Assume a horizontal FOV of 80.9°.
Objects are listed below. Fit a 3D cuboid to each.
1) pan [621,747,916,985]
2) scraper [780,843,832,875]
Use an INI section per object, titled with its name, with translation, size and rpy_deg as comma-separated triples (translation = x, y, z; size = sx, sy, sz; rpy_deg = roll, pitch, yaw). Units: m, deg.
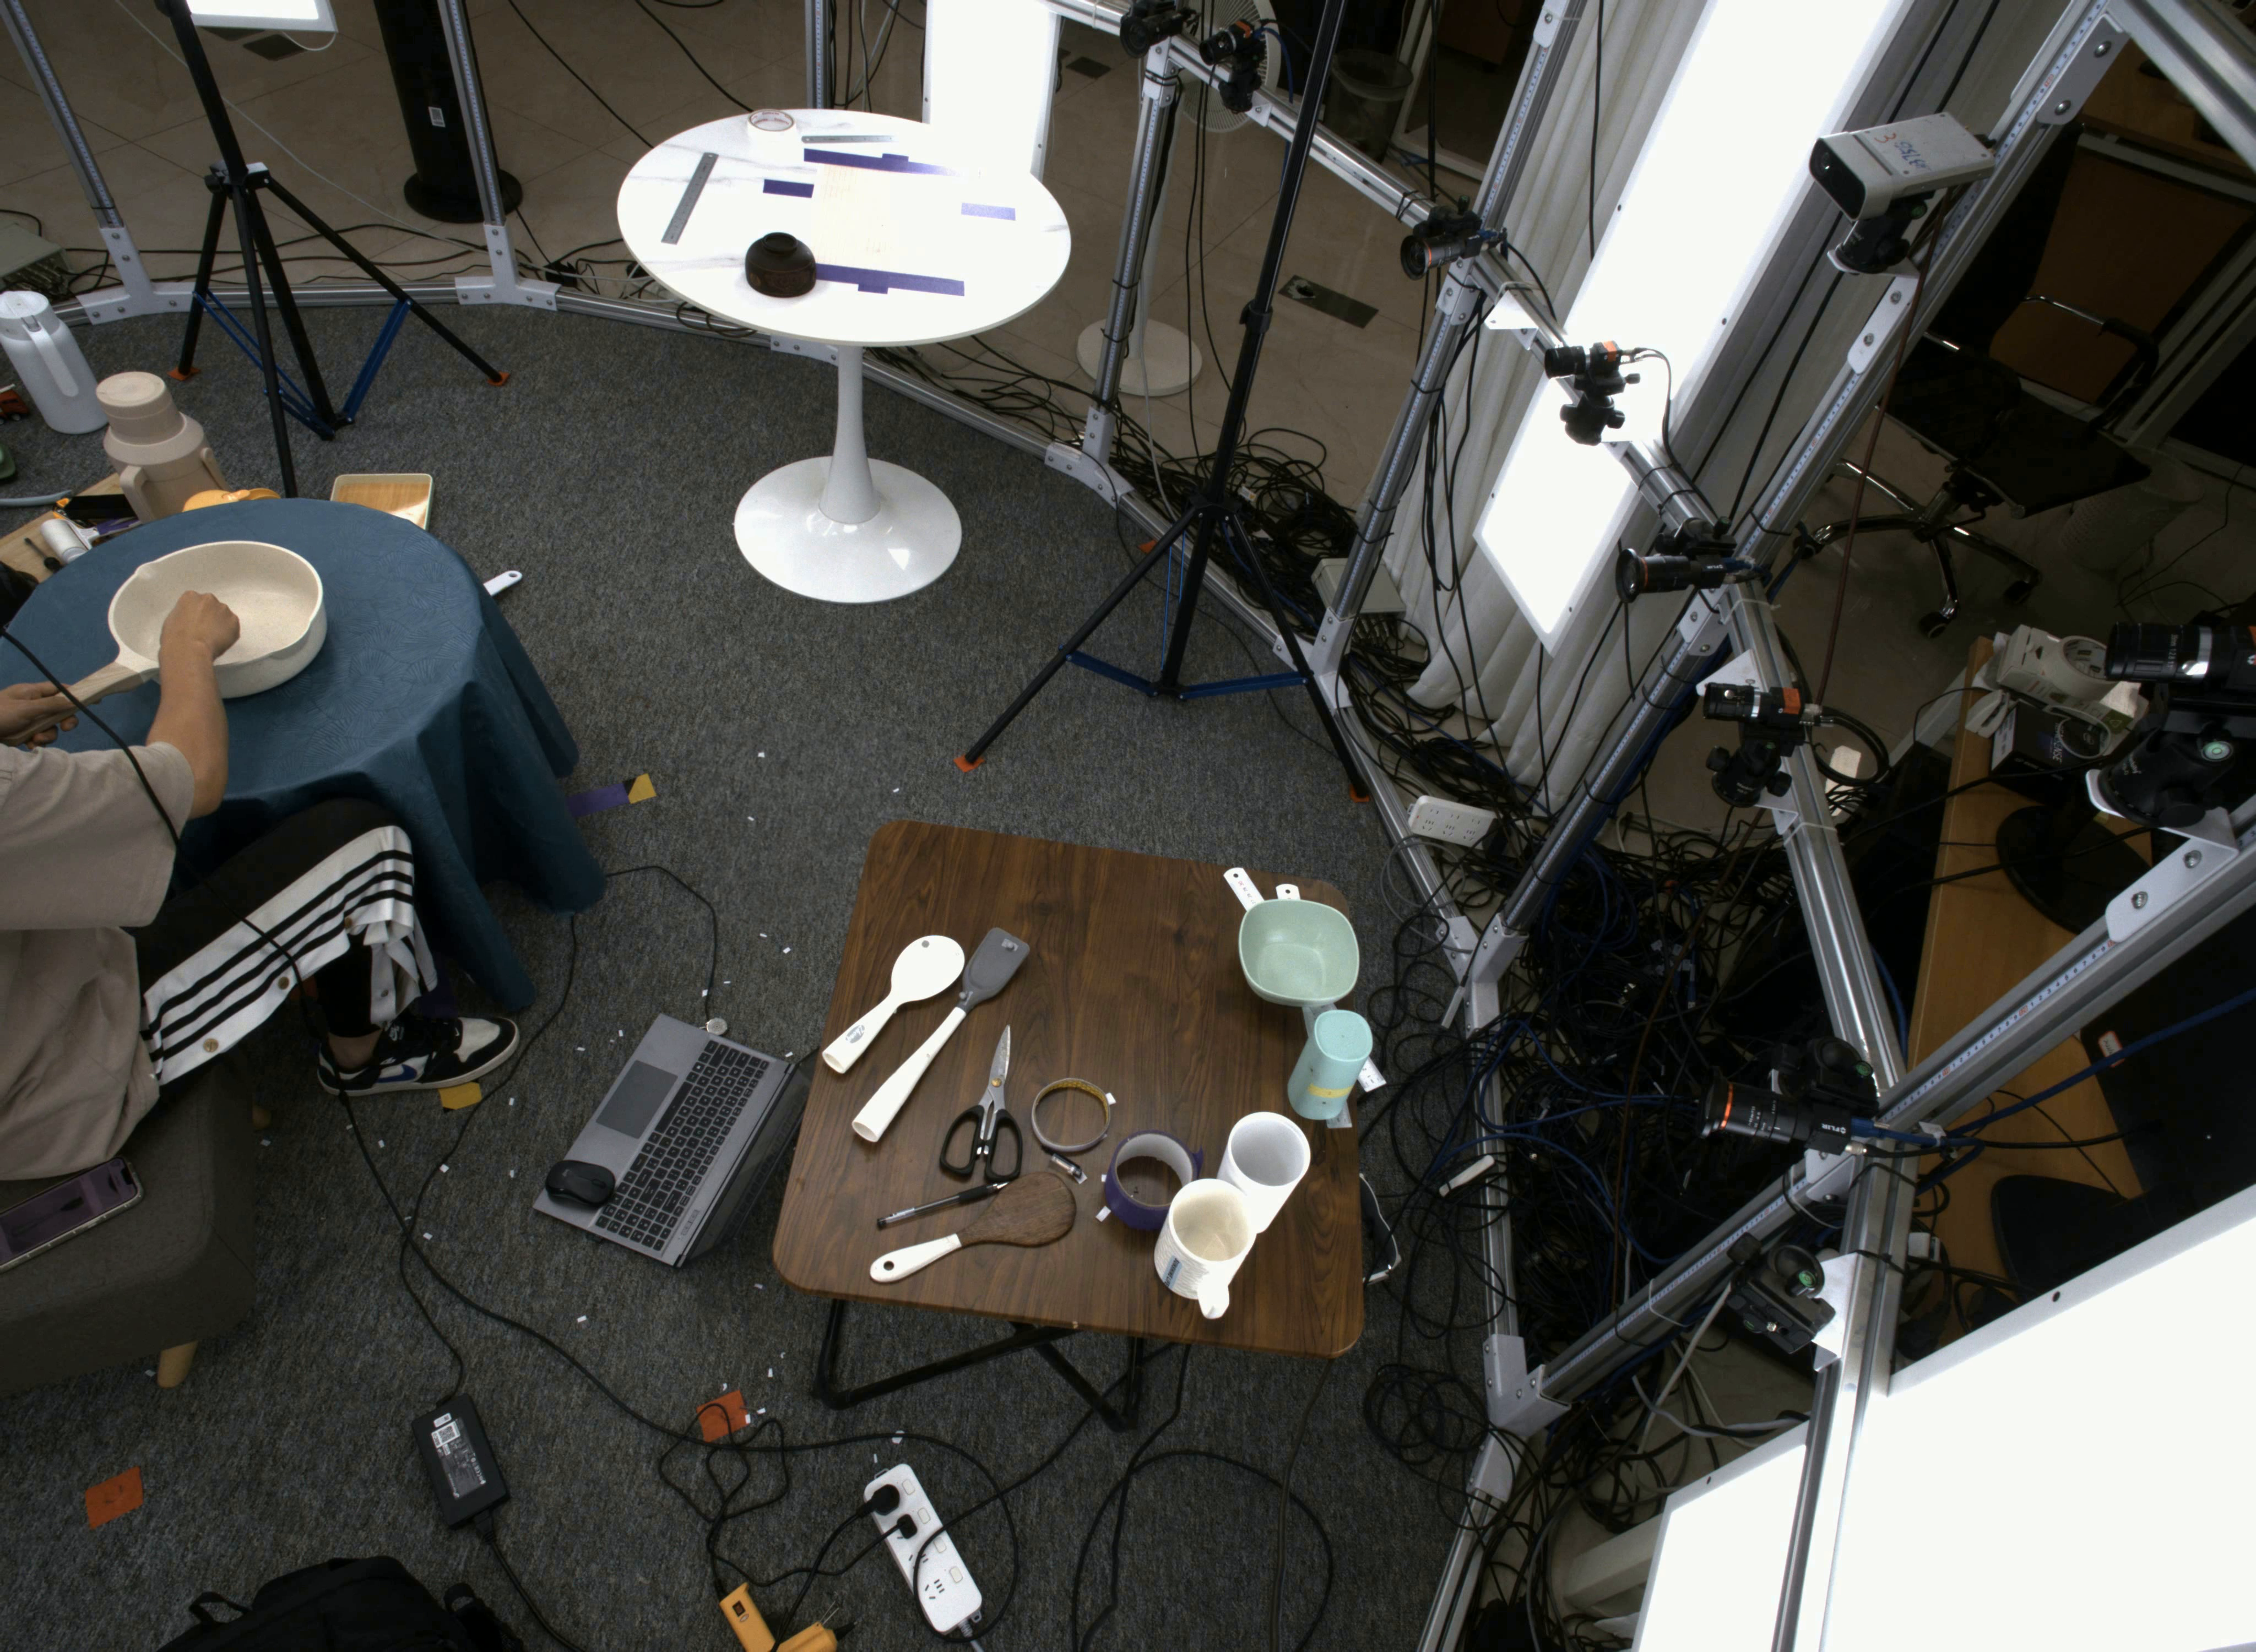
[pan]
translation = -0.454, 0.070, 1.615
size = 0.259, 0.104, 0.435
rpy_deg = 38, 55, 12
[scraper]
translation = -0.394, 0.037, 1.590
size = 0.039, 0.015, 0.165
rpy_deg = -4, 11, -25
